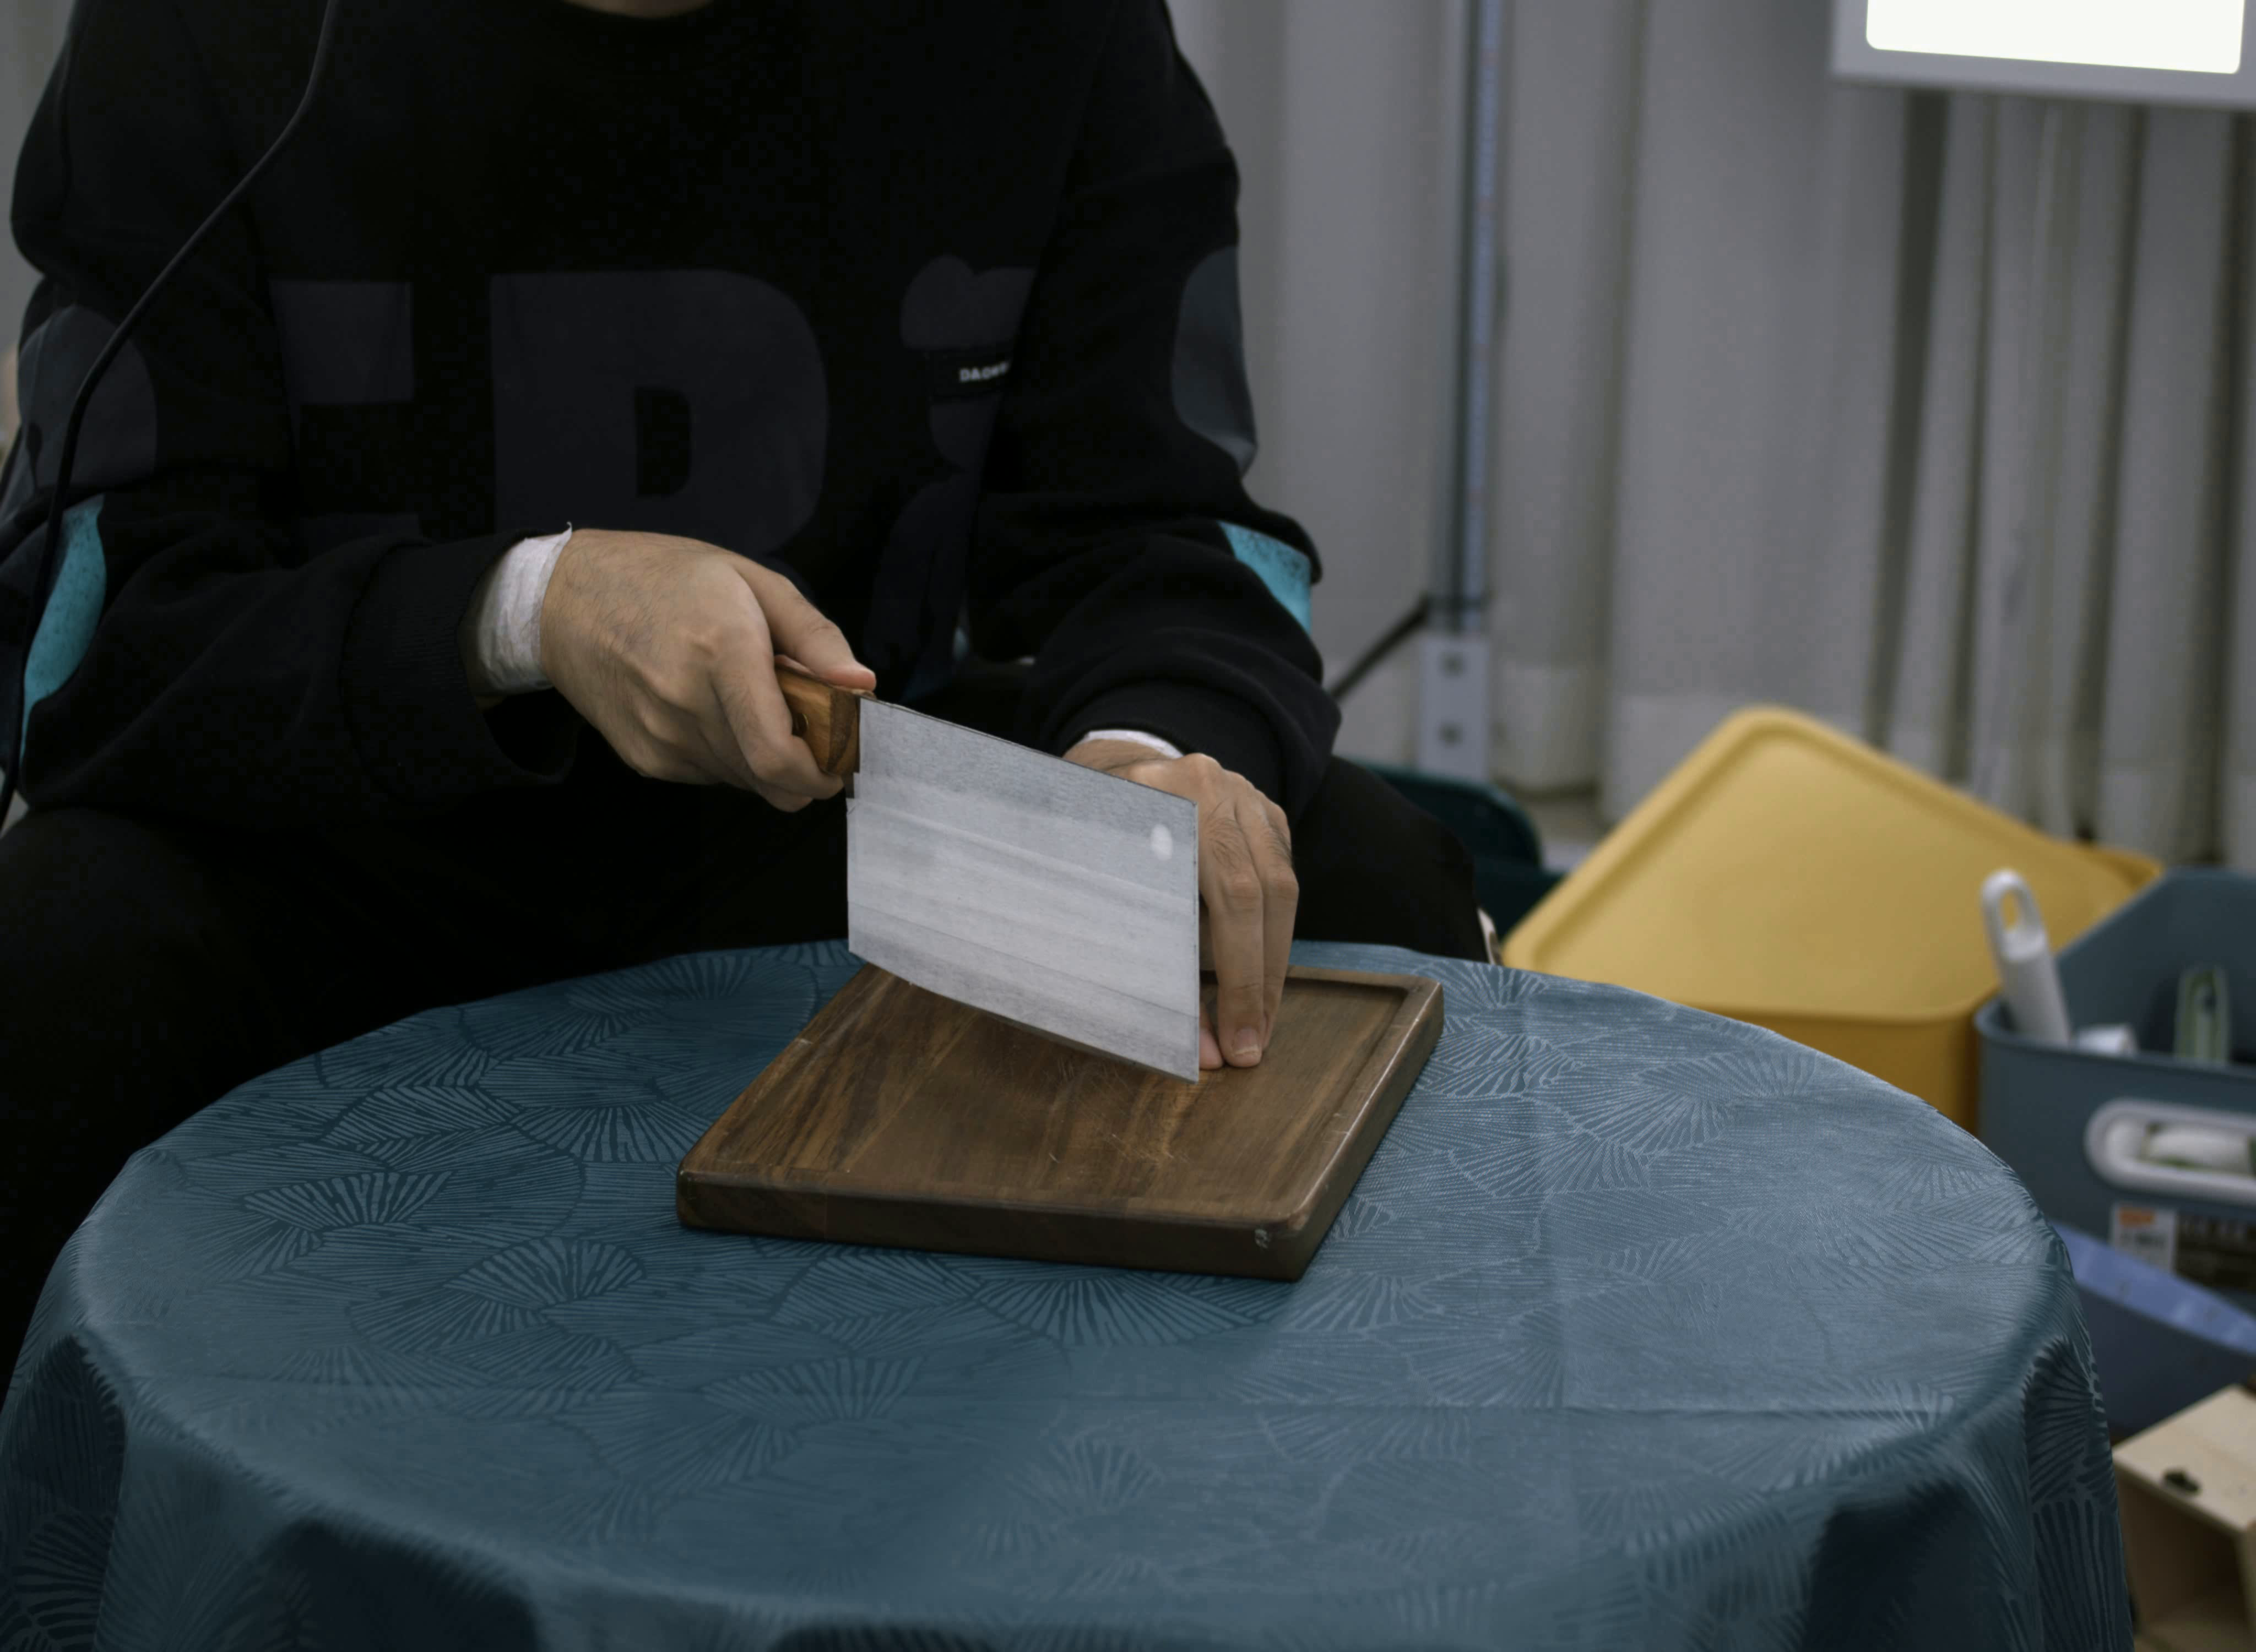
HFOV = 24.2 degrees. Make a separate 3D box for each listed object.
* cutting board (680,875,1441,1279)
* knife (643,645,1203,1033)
[{"bbox_3d":[-0.004,0.073,1.723,0.199,0.023,0.351,4,16,12],"label":"cutting board"},{"bbox_3d":[-0.069,0.004,1.688,0.021,0.093,0.302,-12,18,-35],"label":"knife"}]
